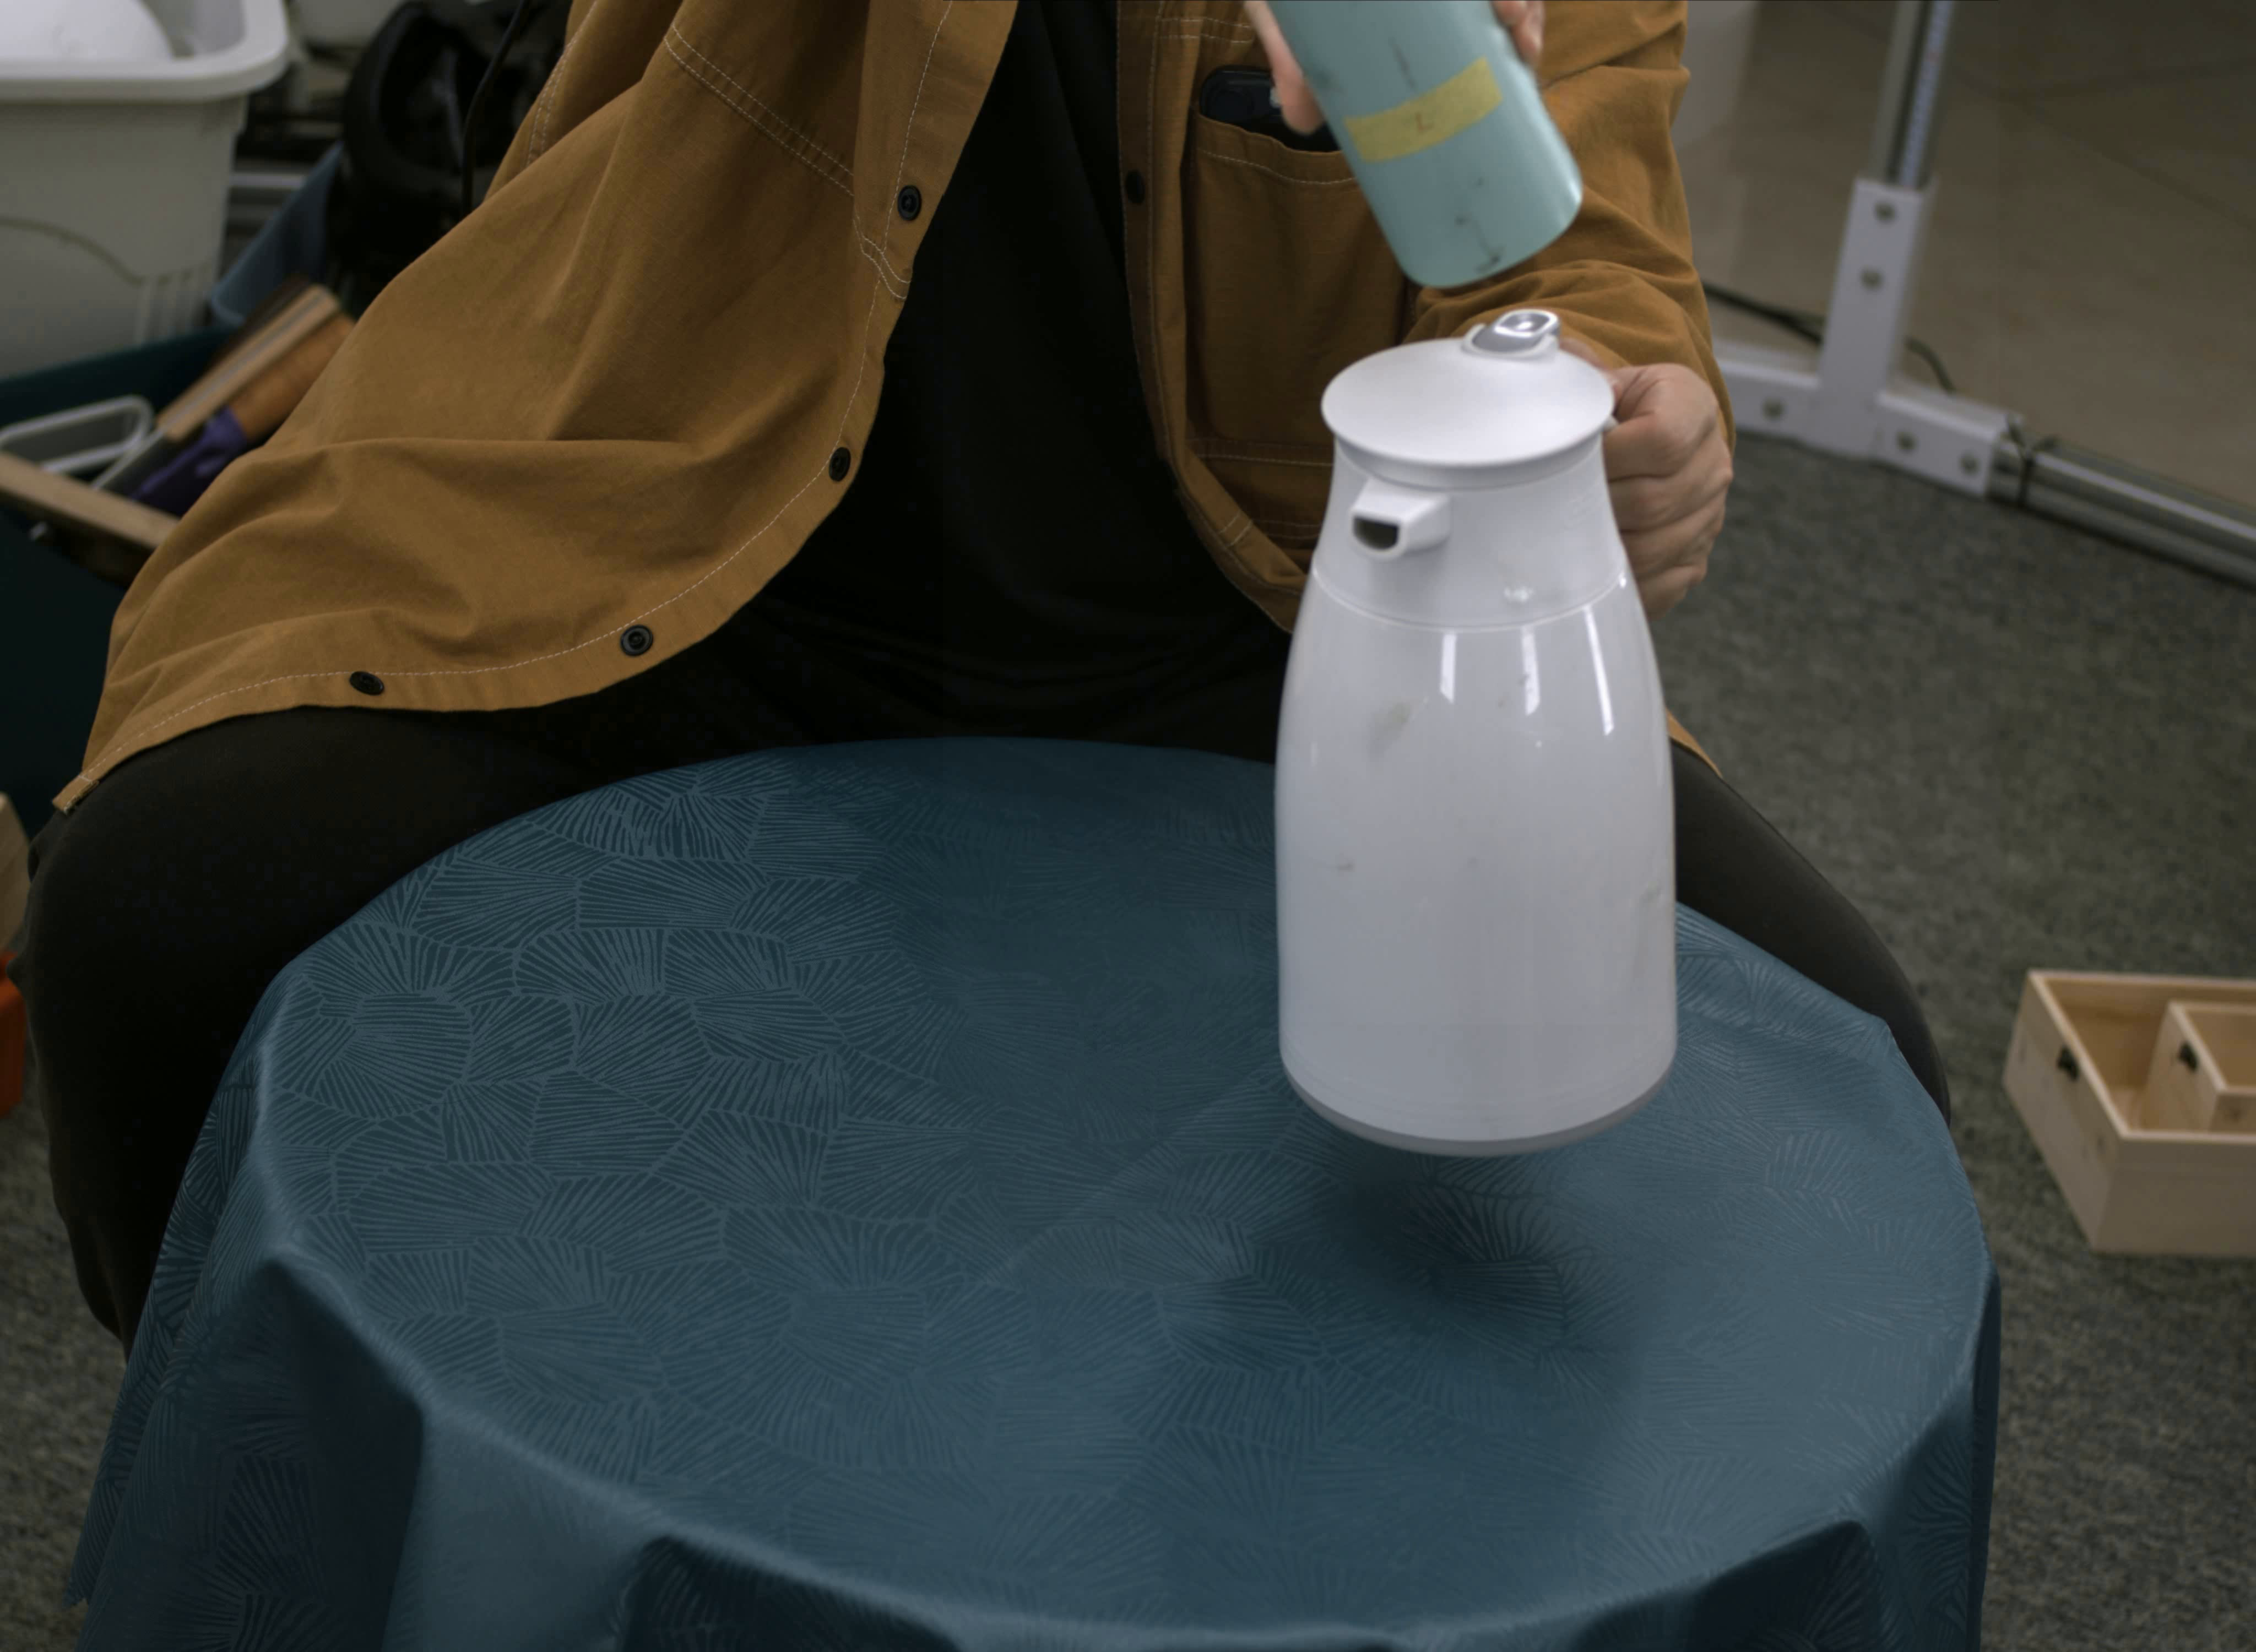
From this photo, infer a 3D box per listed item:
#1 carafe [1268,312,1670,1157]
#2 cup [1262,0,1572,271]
[{"bbox_3d":[0.119,-0.040,1.729,0.133,0.247,0.167,15,32,28],"label":"carafe"},{"bbox_3d":[0.079,-0.236,1.587,0.067,0.131,0.067,-19,39,16],"label":"cup"}]
